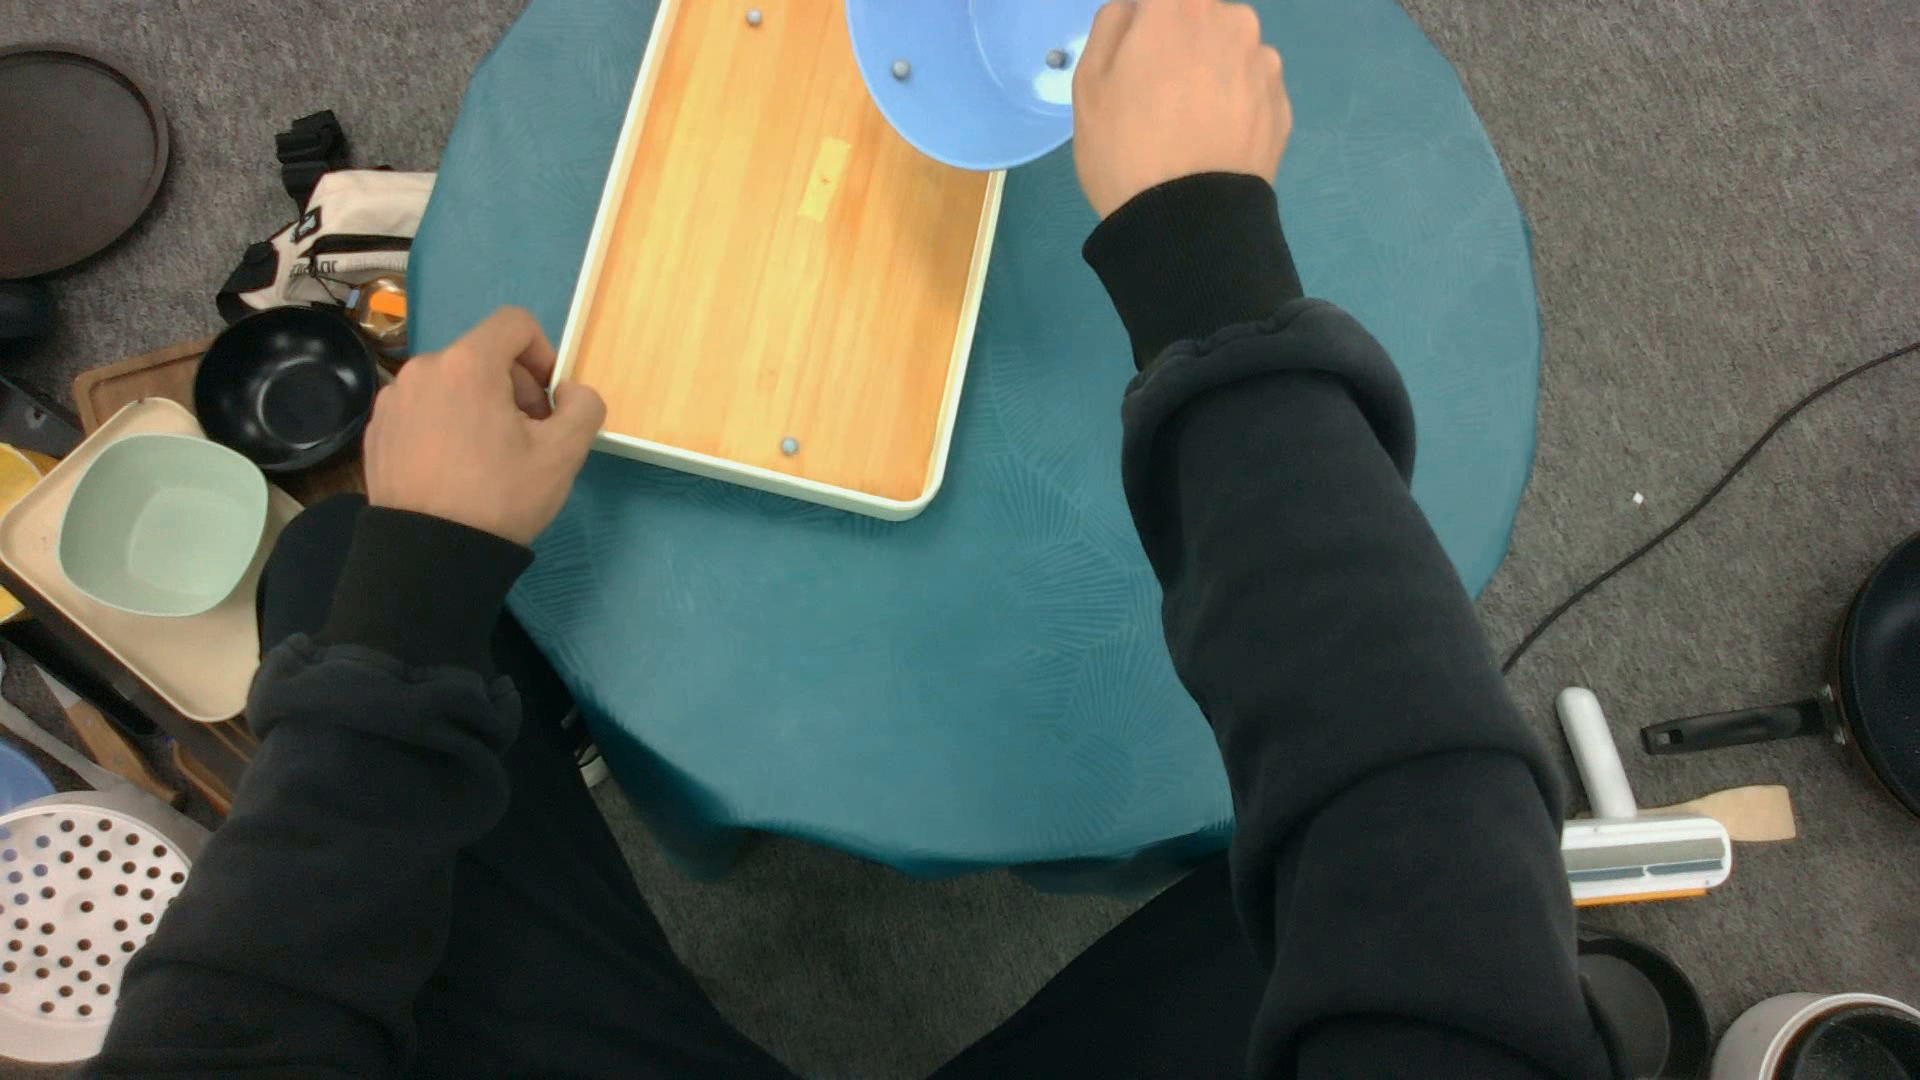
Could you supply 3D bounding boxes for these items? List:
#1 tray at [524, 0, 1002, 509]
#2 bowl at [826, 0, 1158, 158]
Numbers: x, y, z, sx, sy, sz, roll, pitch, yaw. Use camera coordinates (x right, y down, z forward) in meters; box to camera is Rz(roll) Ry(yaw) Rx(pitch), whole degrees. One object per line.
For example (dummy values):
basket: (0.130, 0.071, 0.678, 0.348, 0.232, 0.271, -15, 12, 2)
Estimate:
tray: (-0.091, -0.175, 0.706, 0.191, 0.027, 0.301, 14, 72, -9)
bowl: (0.024, -0.256, 0.610, 0.070, 0.175, 0.176, -9, 72, -50)
